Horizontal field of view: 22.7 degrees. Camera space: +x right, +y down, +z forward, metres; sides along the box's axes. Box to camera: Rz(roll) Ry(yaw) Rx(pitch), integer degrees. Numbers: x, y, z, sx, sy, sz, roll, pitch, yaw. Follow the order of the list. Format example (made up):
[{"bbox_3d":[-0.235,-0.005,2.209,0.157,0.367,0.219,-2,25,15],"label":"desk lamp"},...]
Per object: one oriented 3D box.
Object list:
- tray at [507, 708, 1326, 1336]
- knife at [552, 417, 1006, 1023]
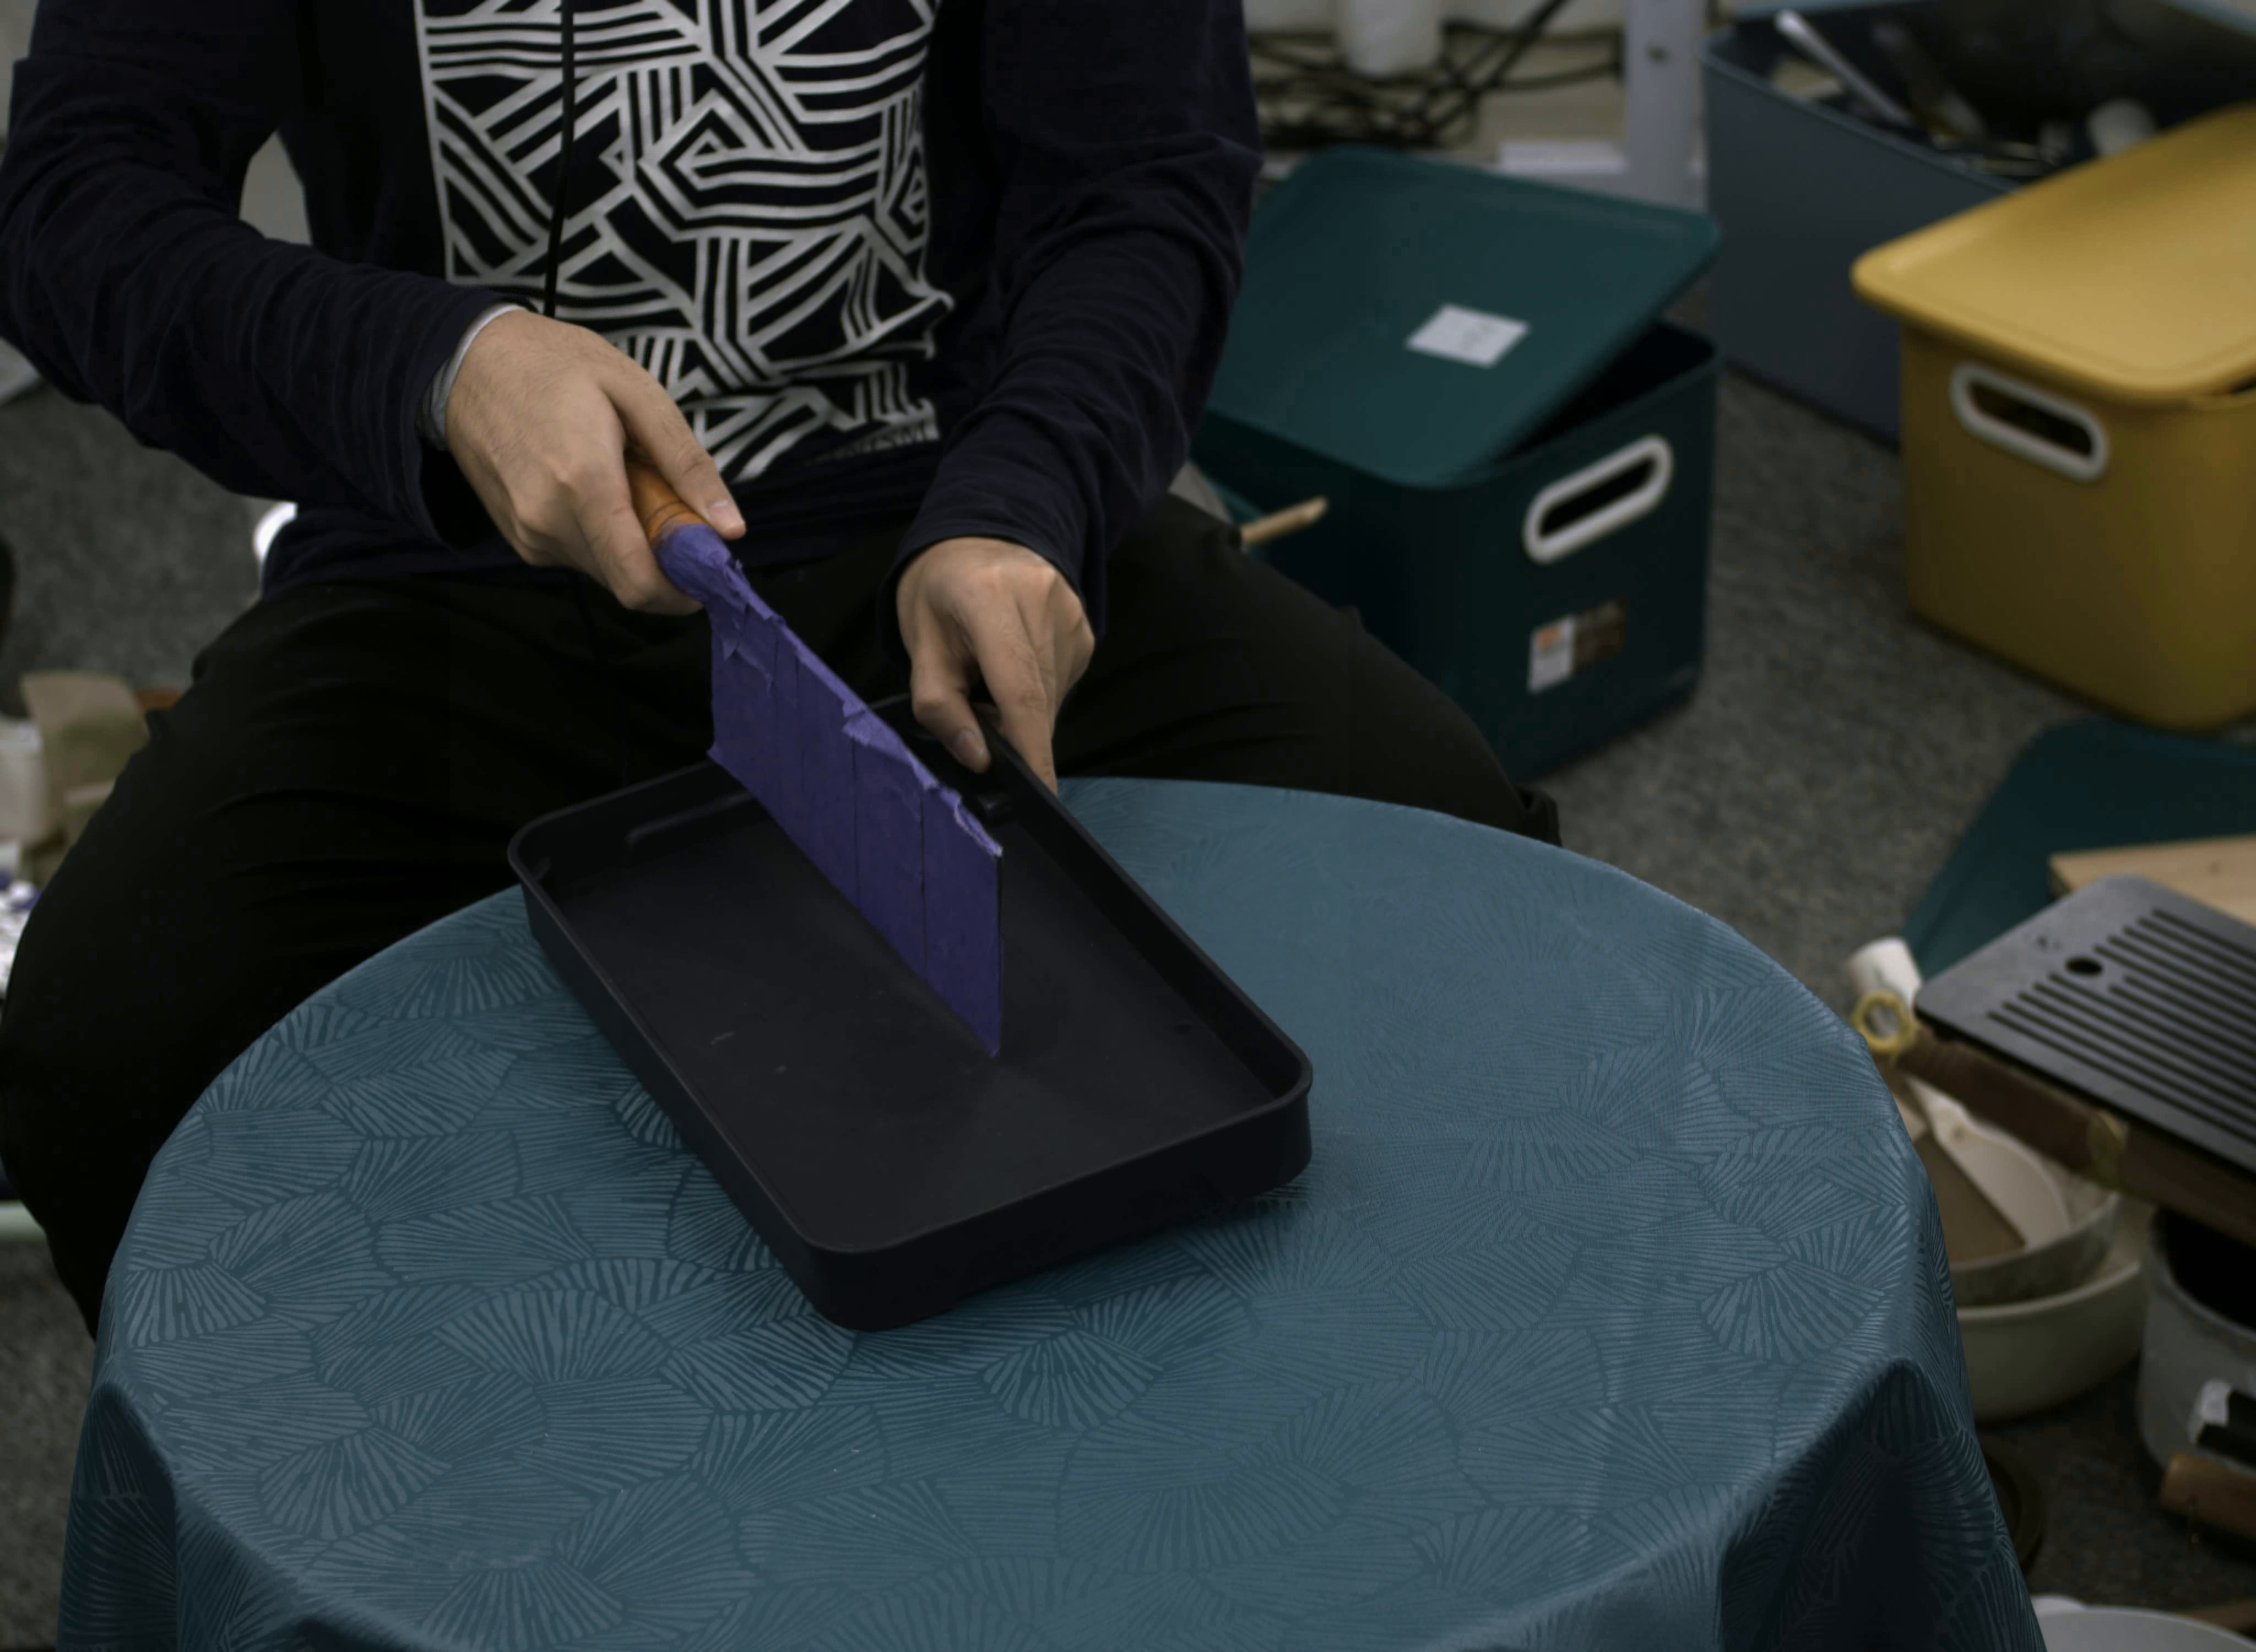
[{"bbox_3d":[-0.077,0.061,1.928,0.185,0.036,0.320,-20,32,-20],"label":"tray"},{"bbox_3d":[-0.125,-0.037,1.989,0.032,0.102,0.317,-15,37,-25],"label":"knife"}]
